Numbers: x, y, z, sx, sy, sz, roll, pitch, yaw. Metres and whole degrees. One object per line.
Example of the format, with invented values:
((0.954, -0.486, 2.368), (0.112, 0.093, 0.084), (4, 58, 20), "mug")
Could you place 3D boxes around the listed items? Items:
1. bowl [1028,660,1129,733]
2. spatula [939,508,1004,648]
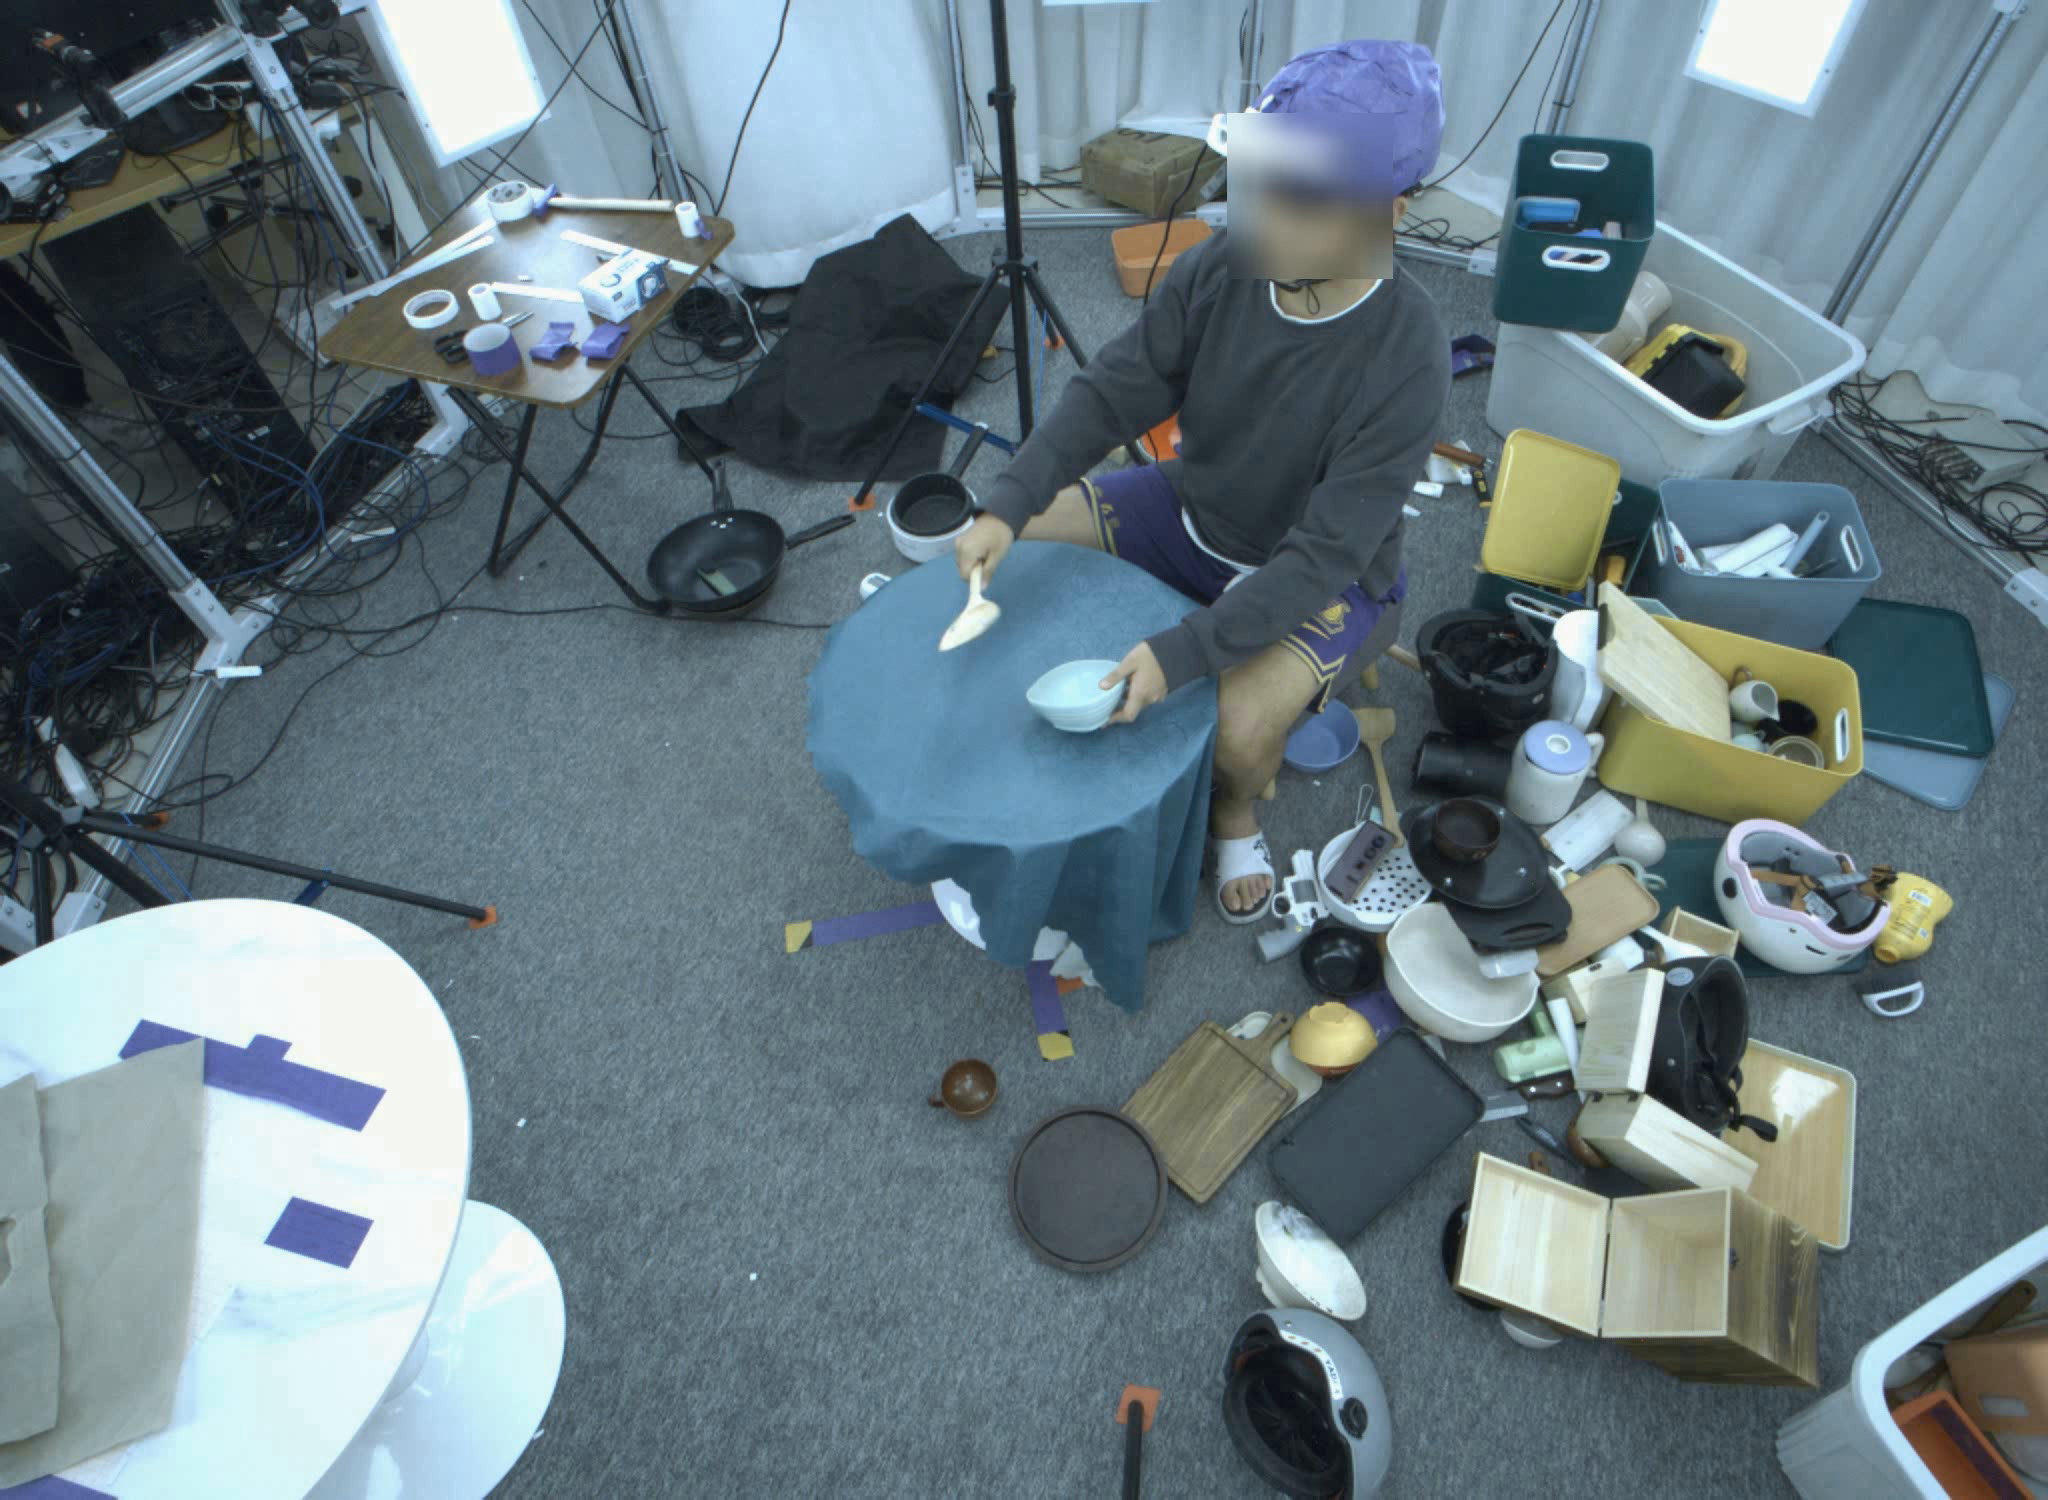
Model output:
((0.085, -0.072, 1.780), (0.151, 0.059, 0.150), (-12, 29, 8), "bowl")
((-0.077, -0.266, 1.824), (0.095, 0.019, 0.386), (-17, 39, 11), "spatula")
